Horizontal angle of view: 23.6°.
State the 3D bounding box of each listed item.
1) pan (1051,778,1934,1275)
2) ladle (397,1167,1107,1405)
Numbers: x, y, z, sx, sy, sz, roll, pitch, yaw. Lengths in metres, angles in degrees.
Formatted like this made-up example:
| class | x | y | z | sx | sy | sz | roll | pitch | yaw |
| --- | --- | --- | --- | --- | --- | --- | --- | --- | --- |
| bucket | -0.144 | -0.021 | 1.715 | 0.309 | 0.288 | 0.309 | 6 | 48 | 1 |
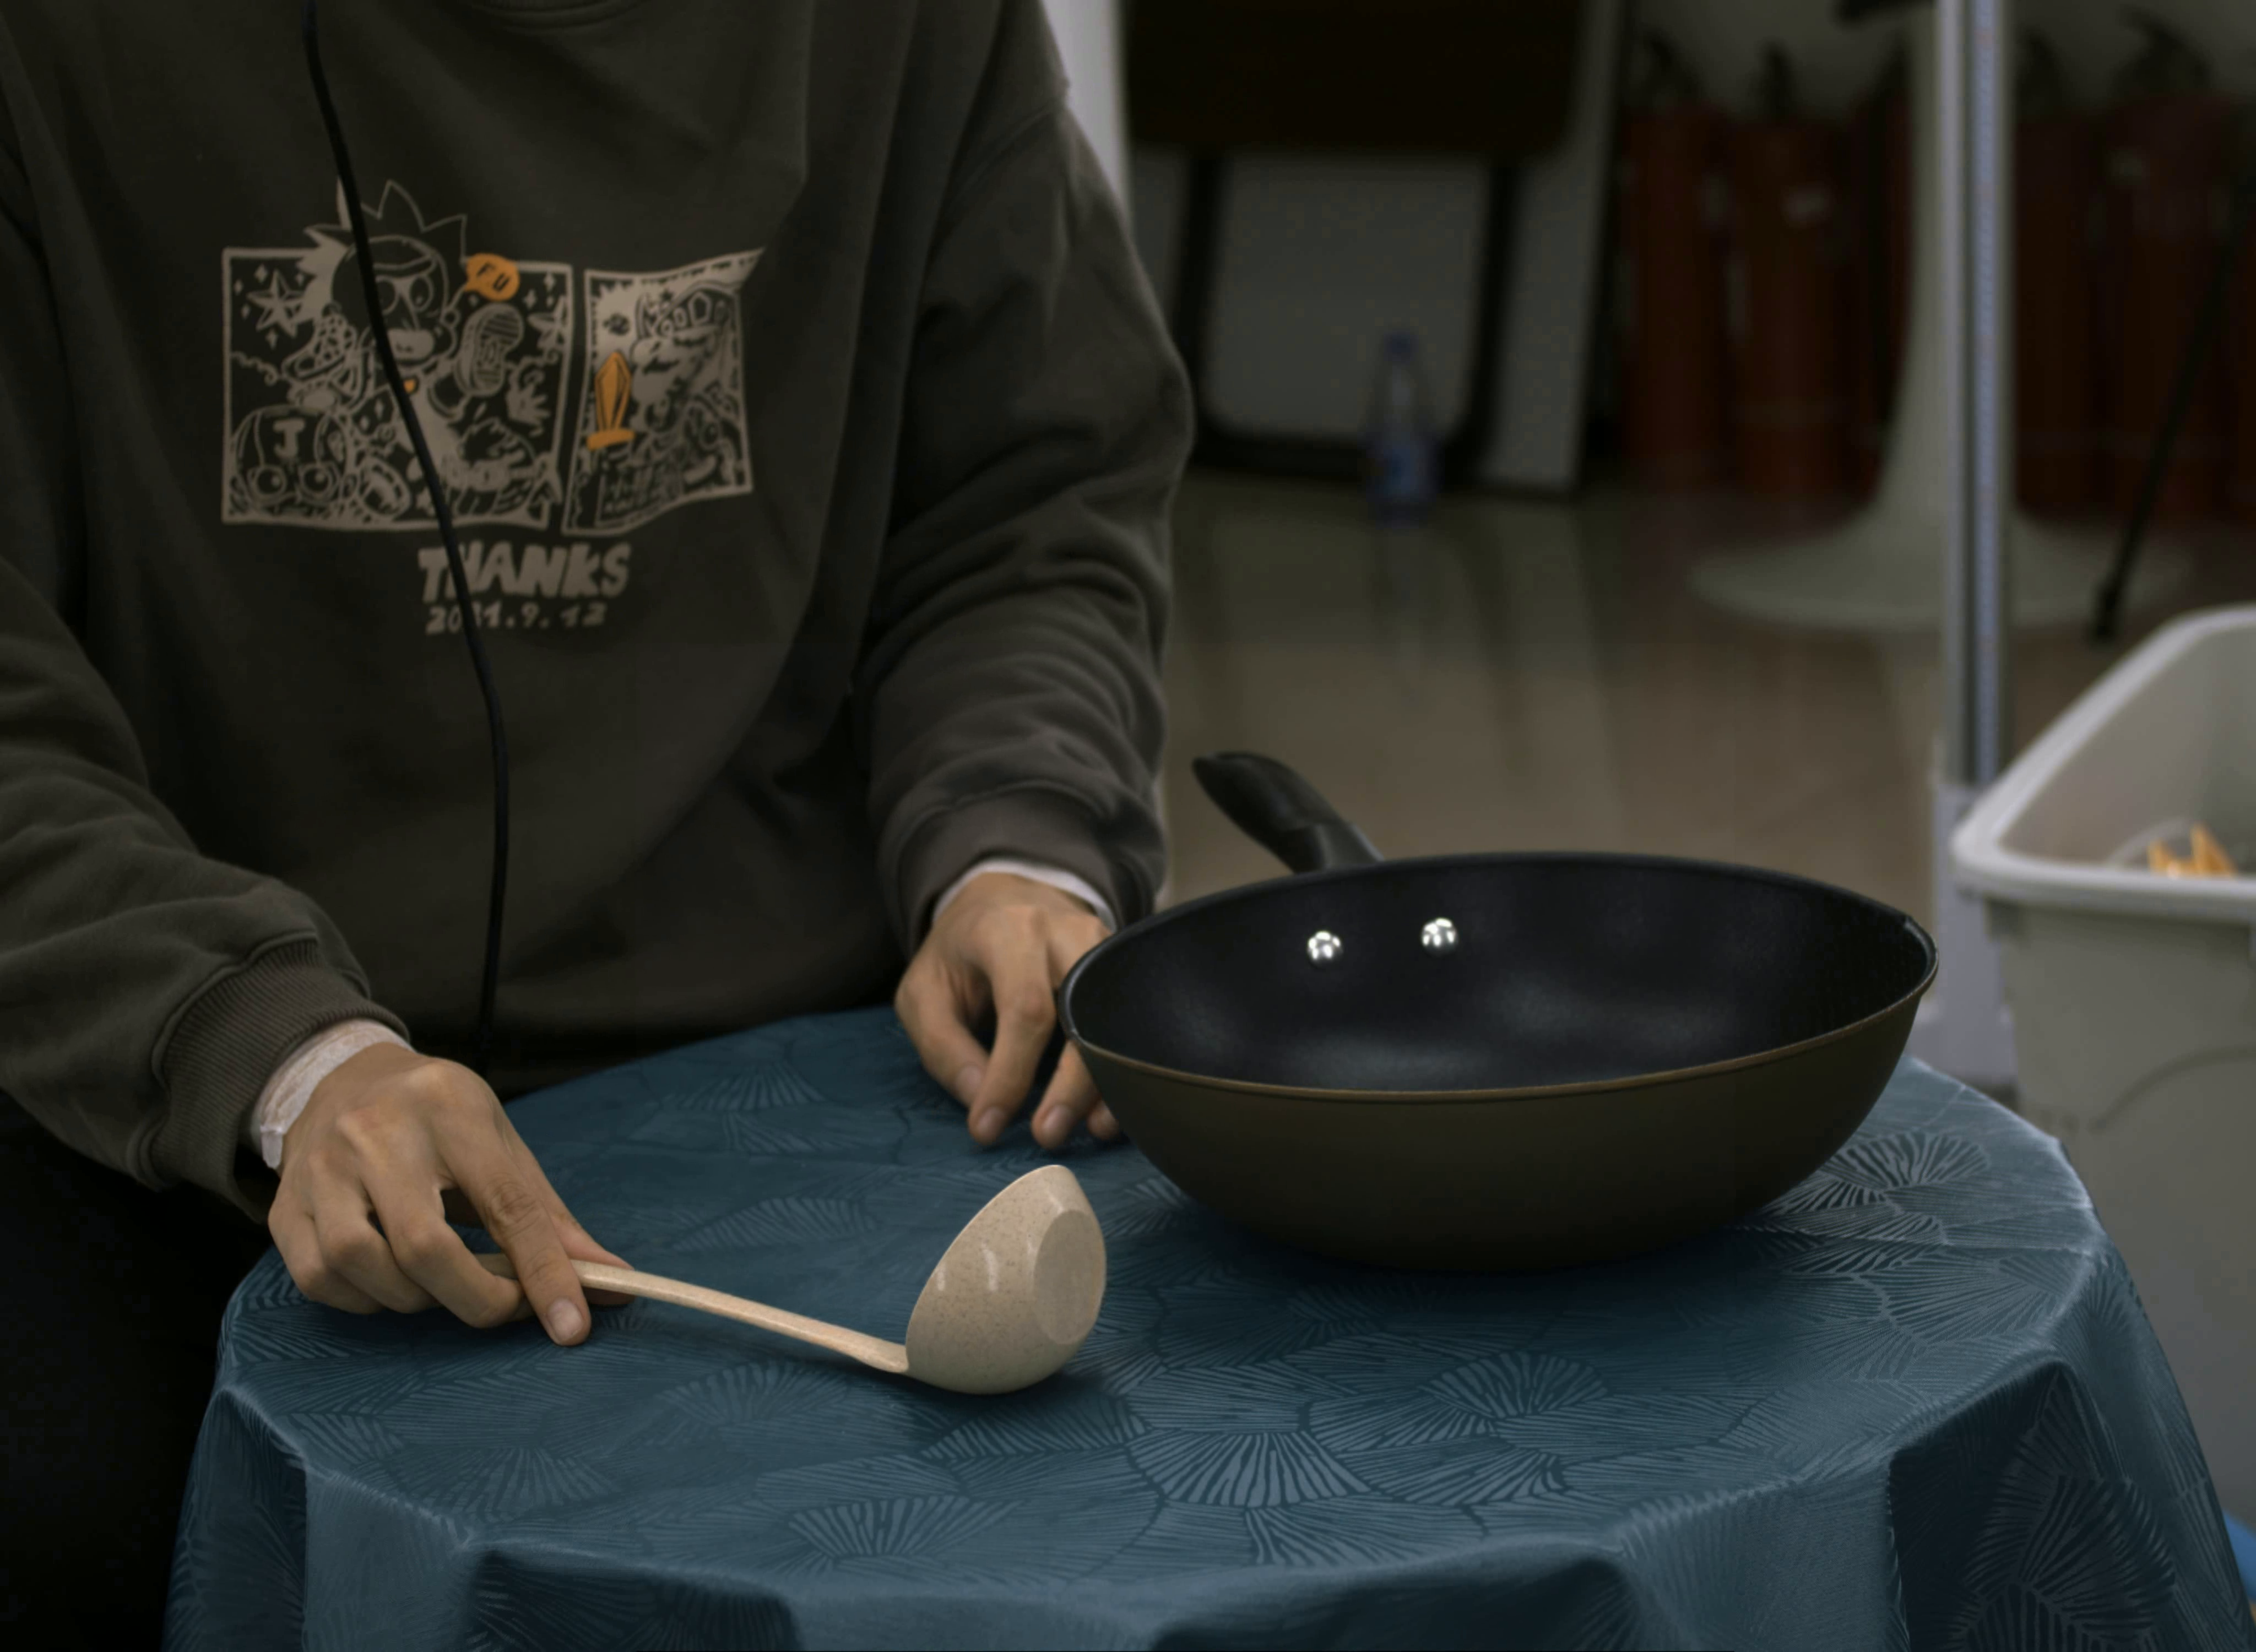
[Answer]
| class | x | y | z | sx | sy | sz | roll | pitch | yaw |
| --- | --- | --- | --- | --- | --- | --- | --- | --- | --- |
| pan | 0.095 | 0.064 | 1.810 | 0.283 | 0.088 | 0.466 | -7 | 13 | -13 |
| ladle | -0.121 | 0.122 | 1.639 | 0.256 | 0.074 | 0.071 | 8 | 12 | 32 |
